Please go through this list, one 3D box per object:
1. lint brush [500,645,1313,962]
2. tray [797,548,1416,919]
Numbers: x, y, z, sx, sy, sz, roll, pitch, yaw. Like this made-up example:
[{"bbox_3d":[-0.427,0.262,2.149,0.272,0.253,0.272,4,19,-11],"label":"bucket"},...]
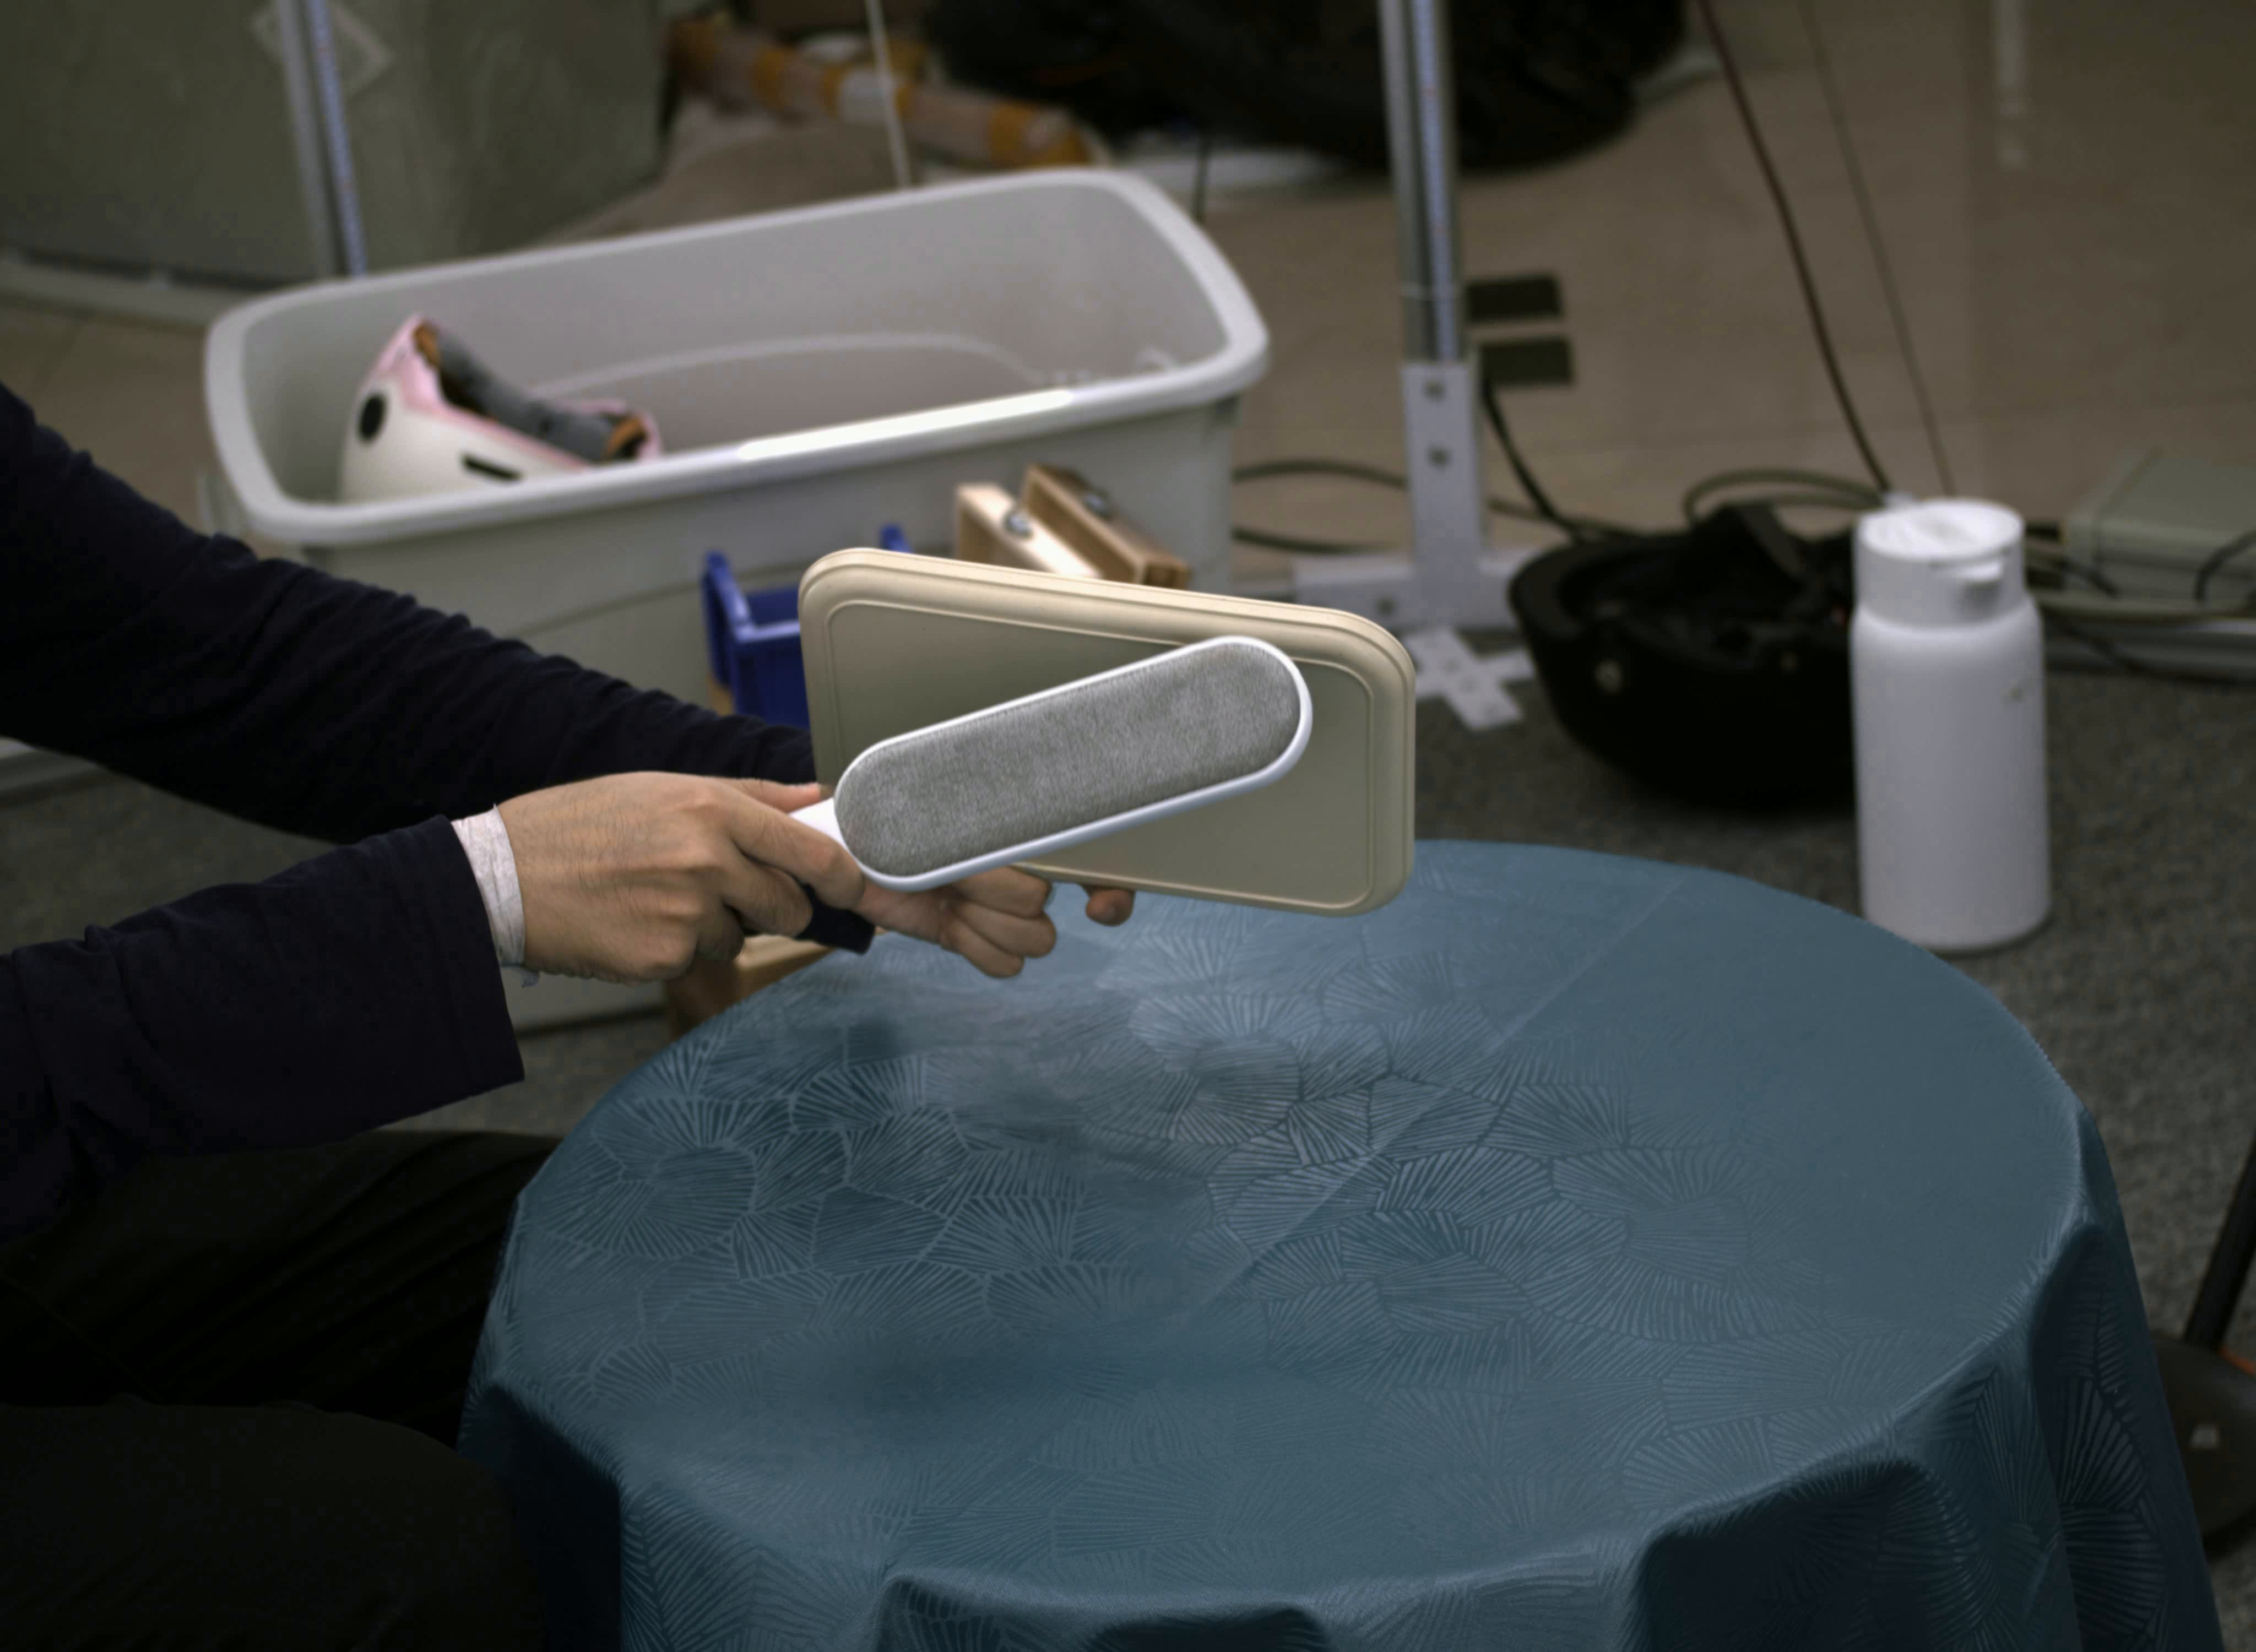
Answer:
[{"bbox_3d":[-0.082,-0.004,2.056,0.309,0.060,0.021,-16,-7,6],"label":"lint brush"},{"bbox_3d":[-0.010,-0.031,2.171,0.239,0.174,0.017,8,51,8],"label":"tray"}]
